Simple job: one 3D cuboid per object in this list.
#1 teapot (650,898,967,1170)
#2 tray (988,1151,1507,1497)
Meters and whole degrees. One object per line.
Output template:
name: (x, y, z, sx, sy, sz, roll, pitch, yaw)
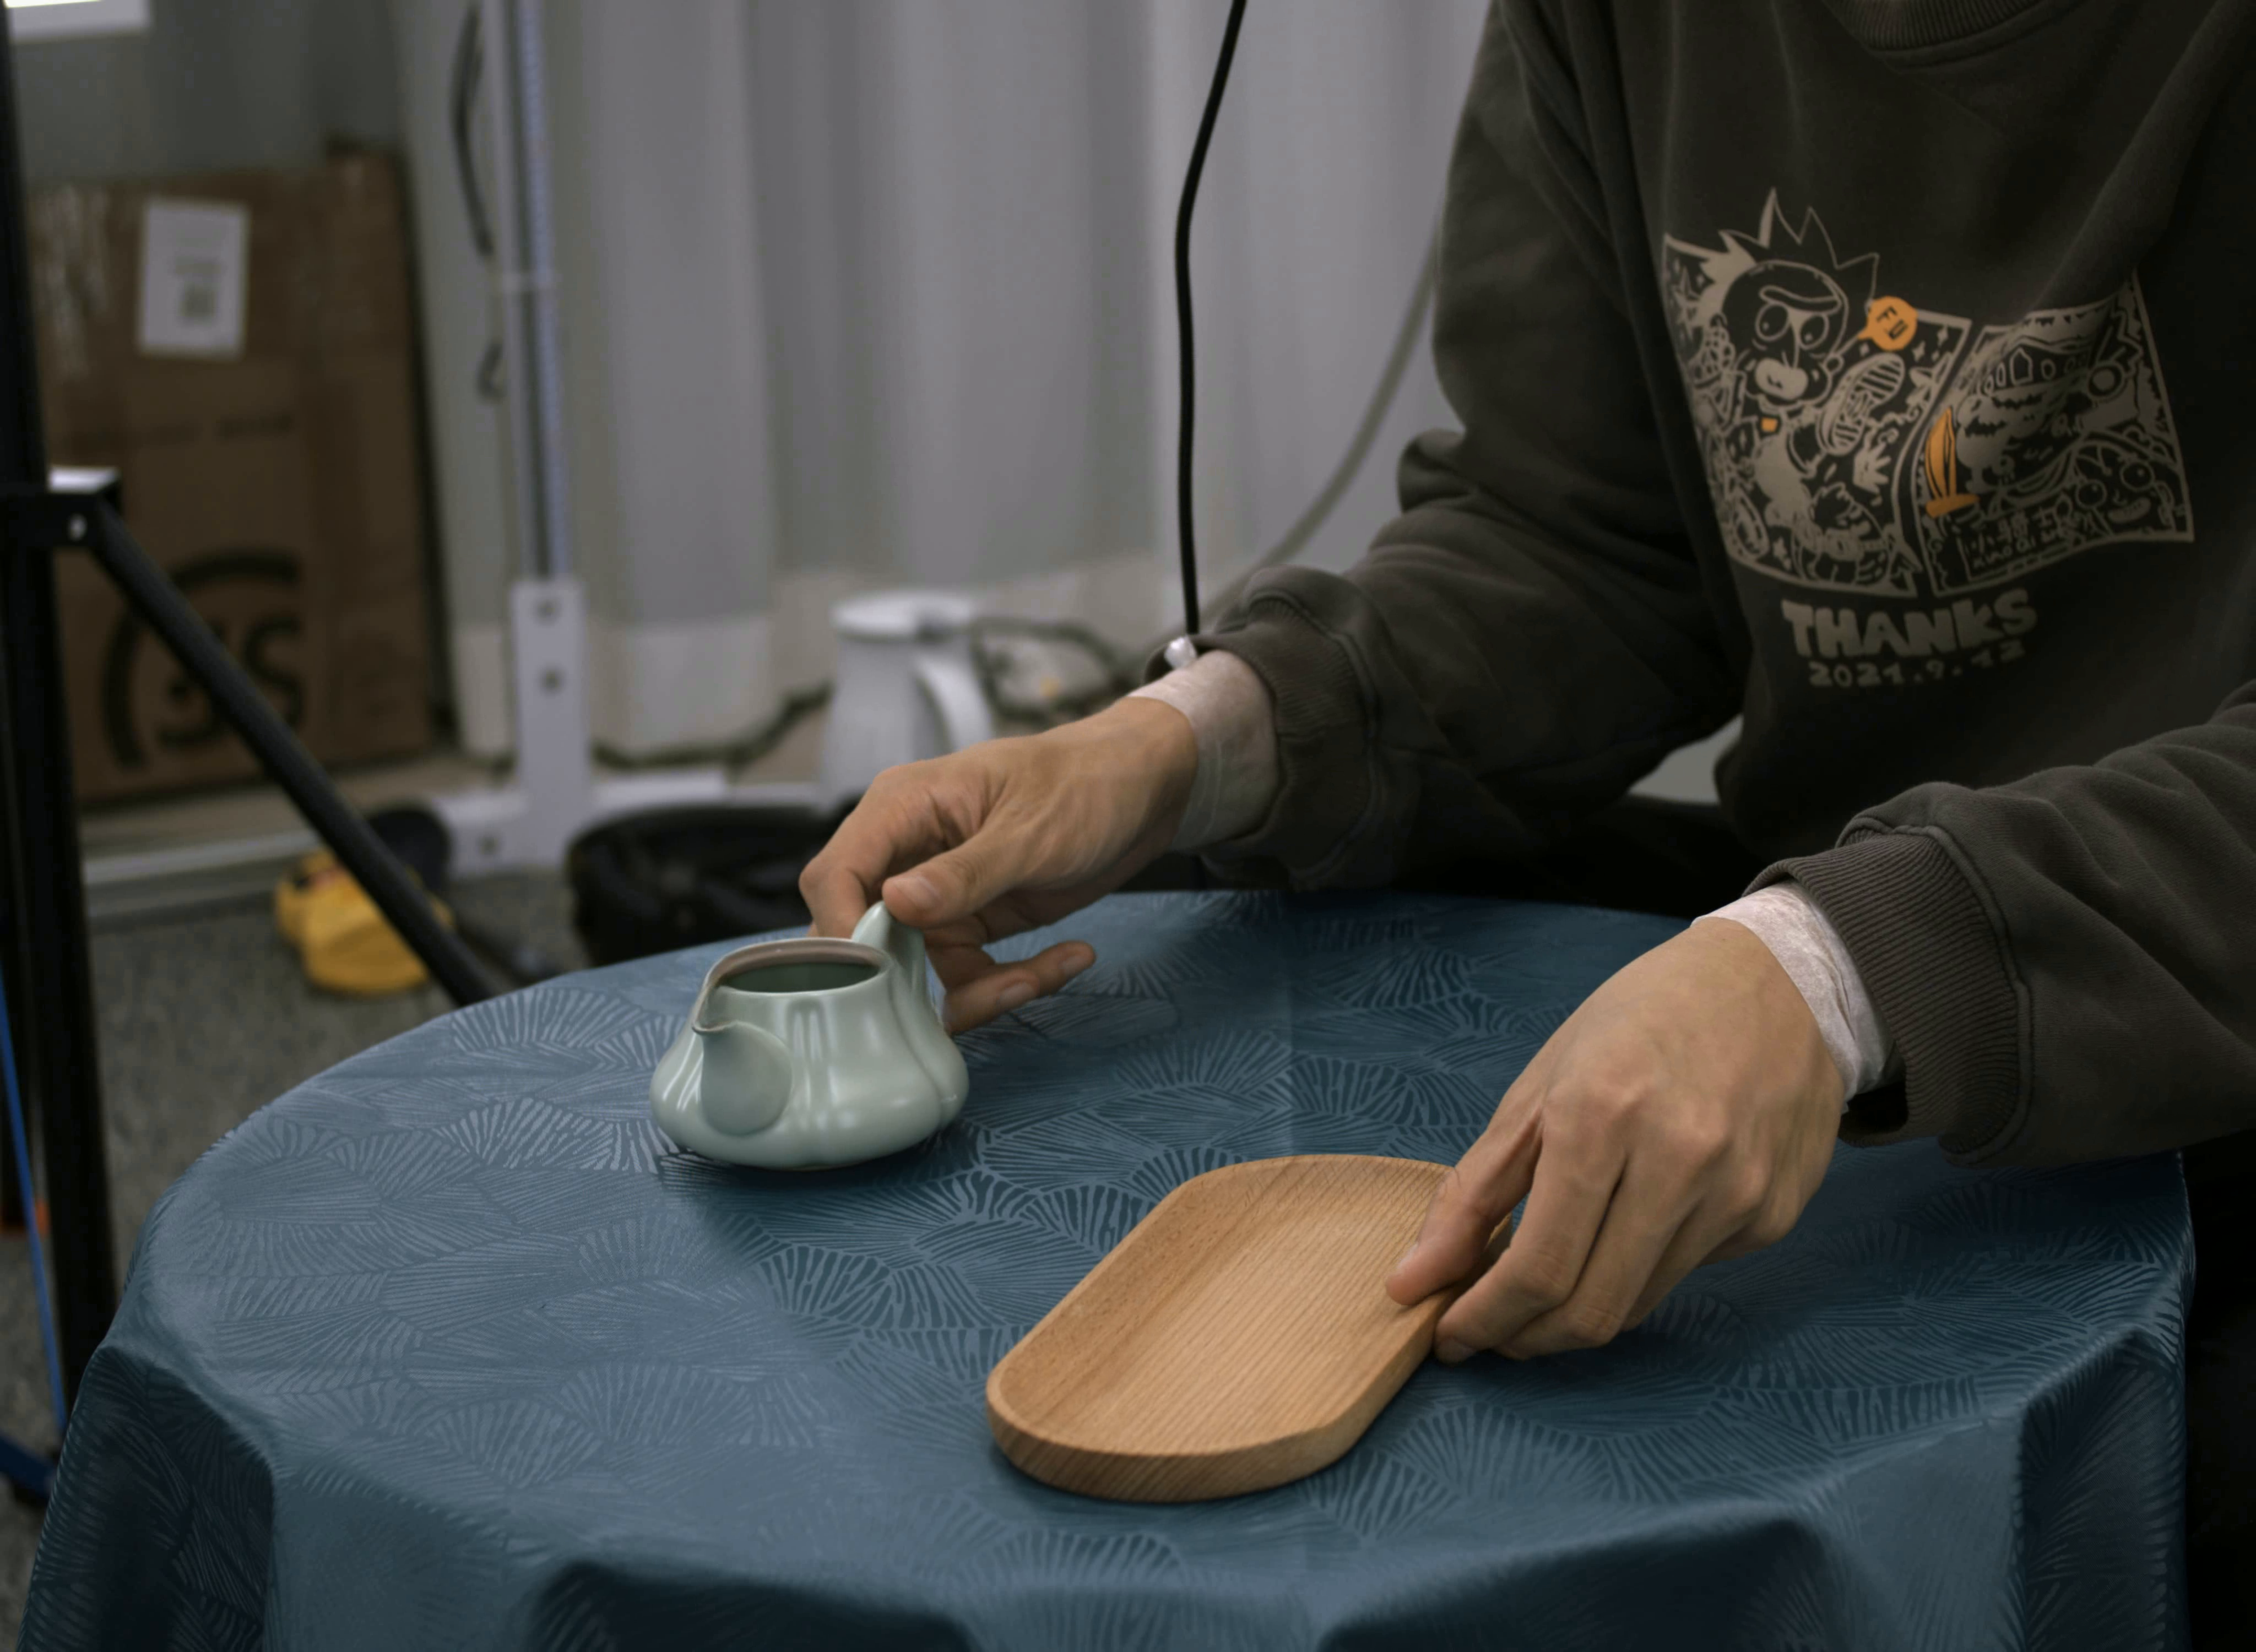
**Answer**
teapot: (-0.096, 0.066, 1.617, 0.097, 0.061, 0.135, 2, 16, 22)
tray: (0.036, 0.132, 1.439, 0.103, 0.020, 0.228, 3, 16, 19)
